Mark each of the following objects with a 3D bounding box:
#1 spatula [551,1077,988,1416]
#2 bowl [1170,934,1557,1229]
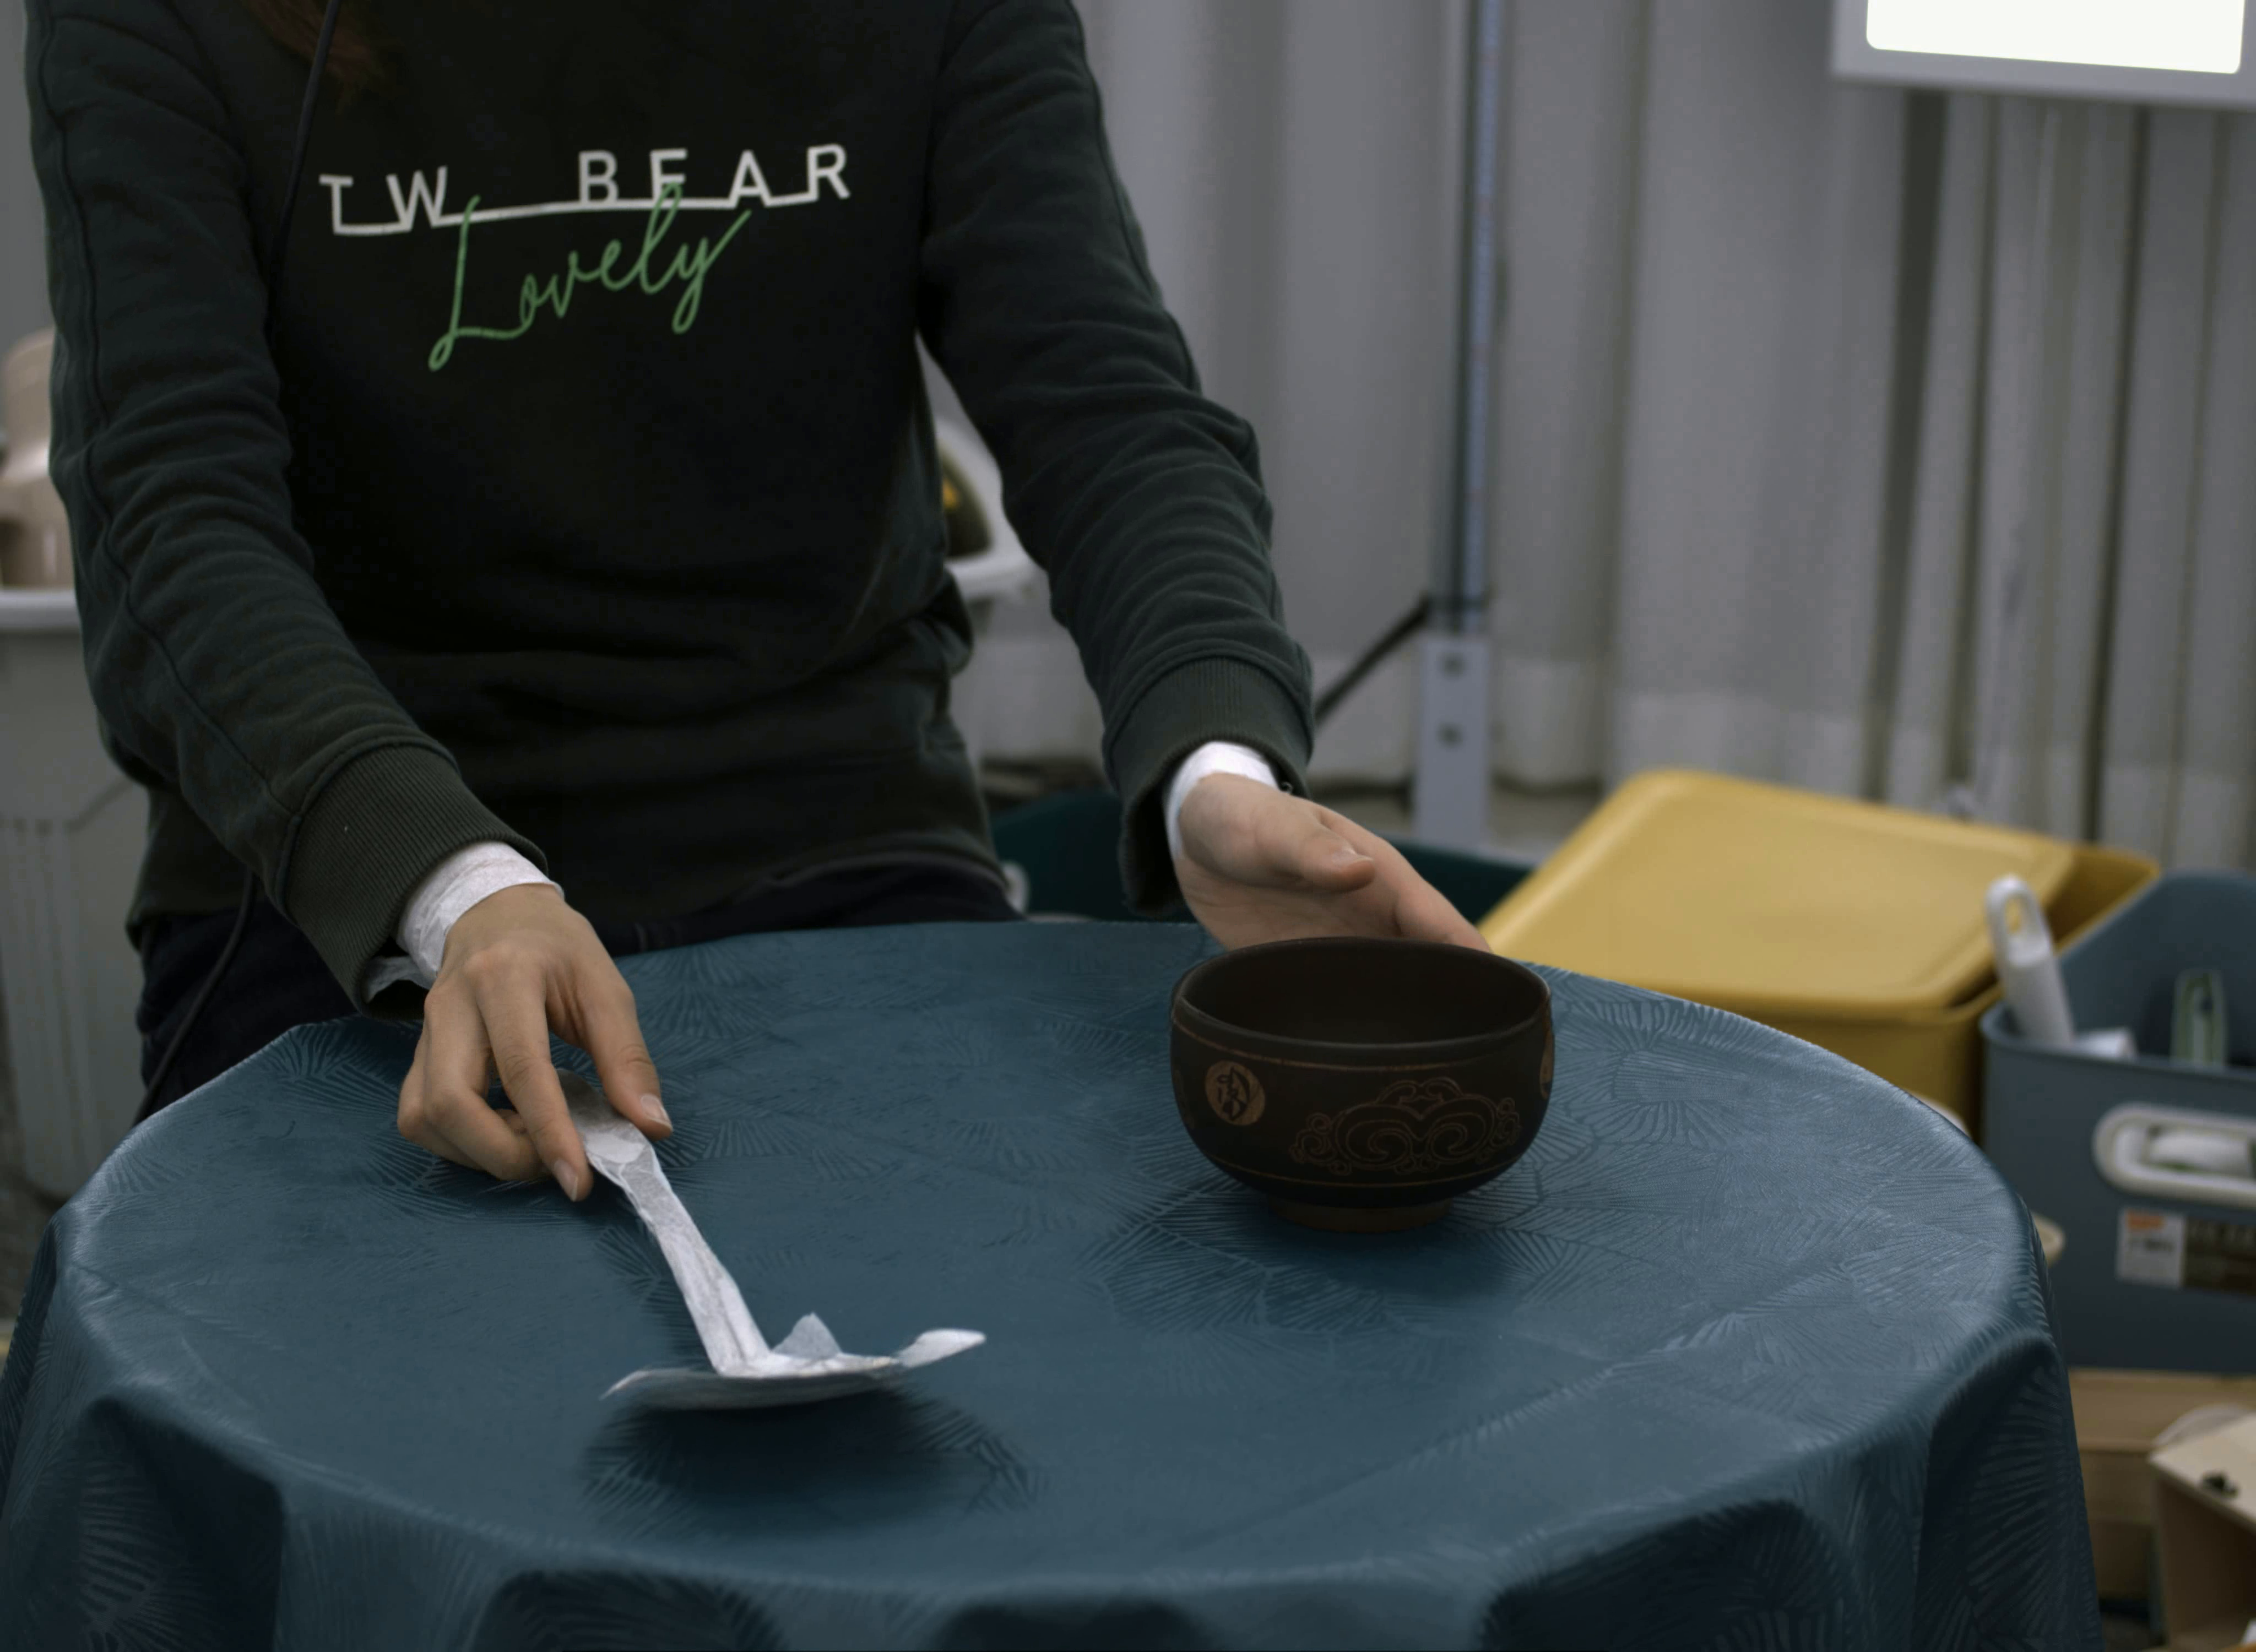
[{"bbox_3d":[-0.130,0.114,1.546,0.099,0.045,0.361,-6,17,-16],"label":"spatula"},{"bbox_3d":[0.071,0.081,1.608,0.117,0.070,0.117,2,15,0],"label":"bowl"}]
